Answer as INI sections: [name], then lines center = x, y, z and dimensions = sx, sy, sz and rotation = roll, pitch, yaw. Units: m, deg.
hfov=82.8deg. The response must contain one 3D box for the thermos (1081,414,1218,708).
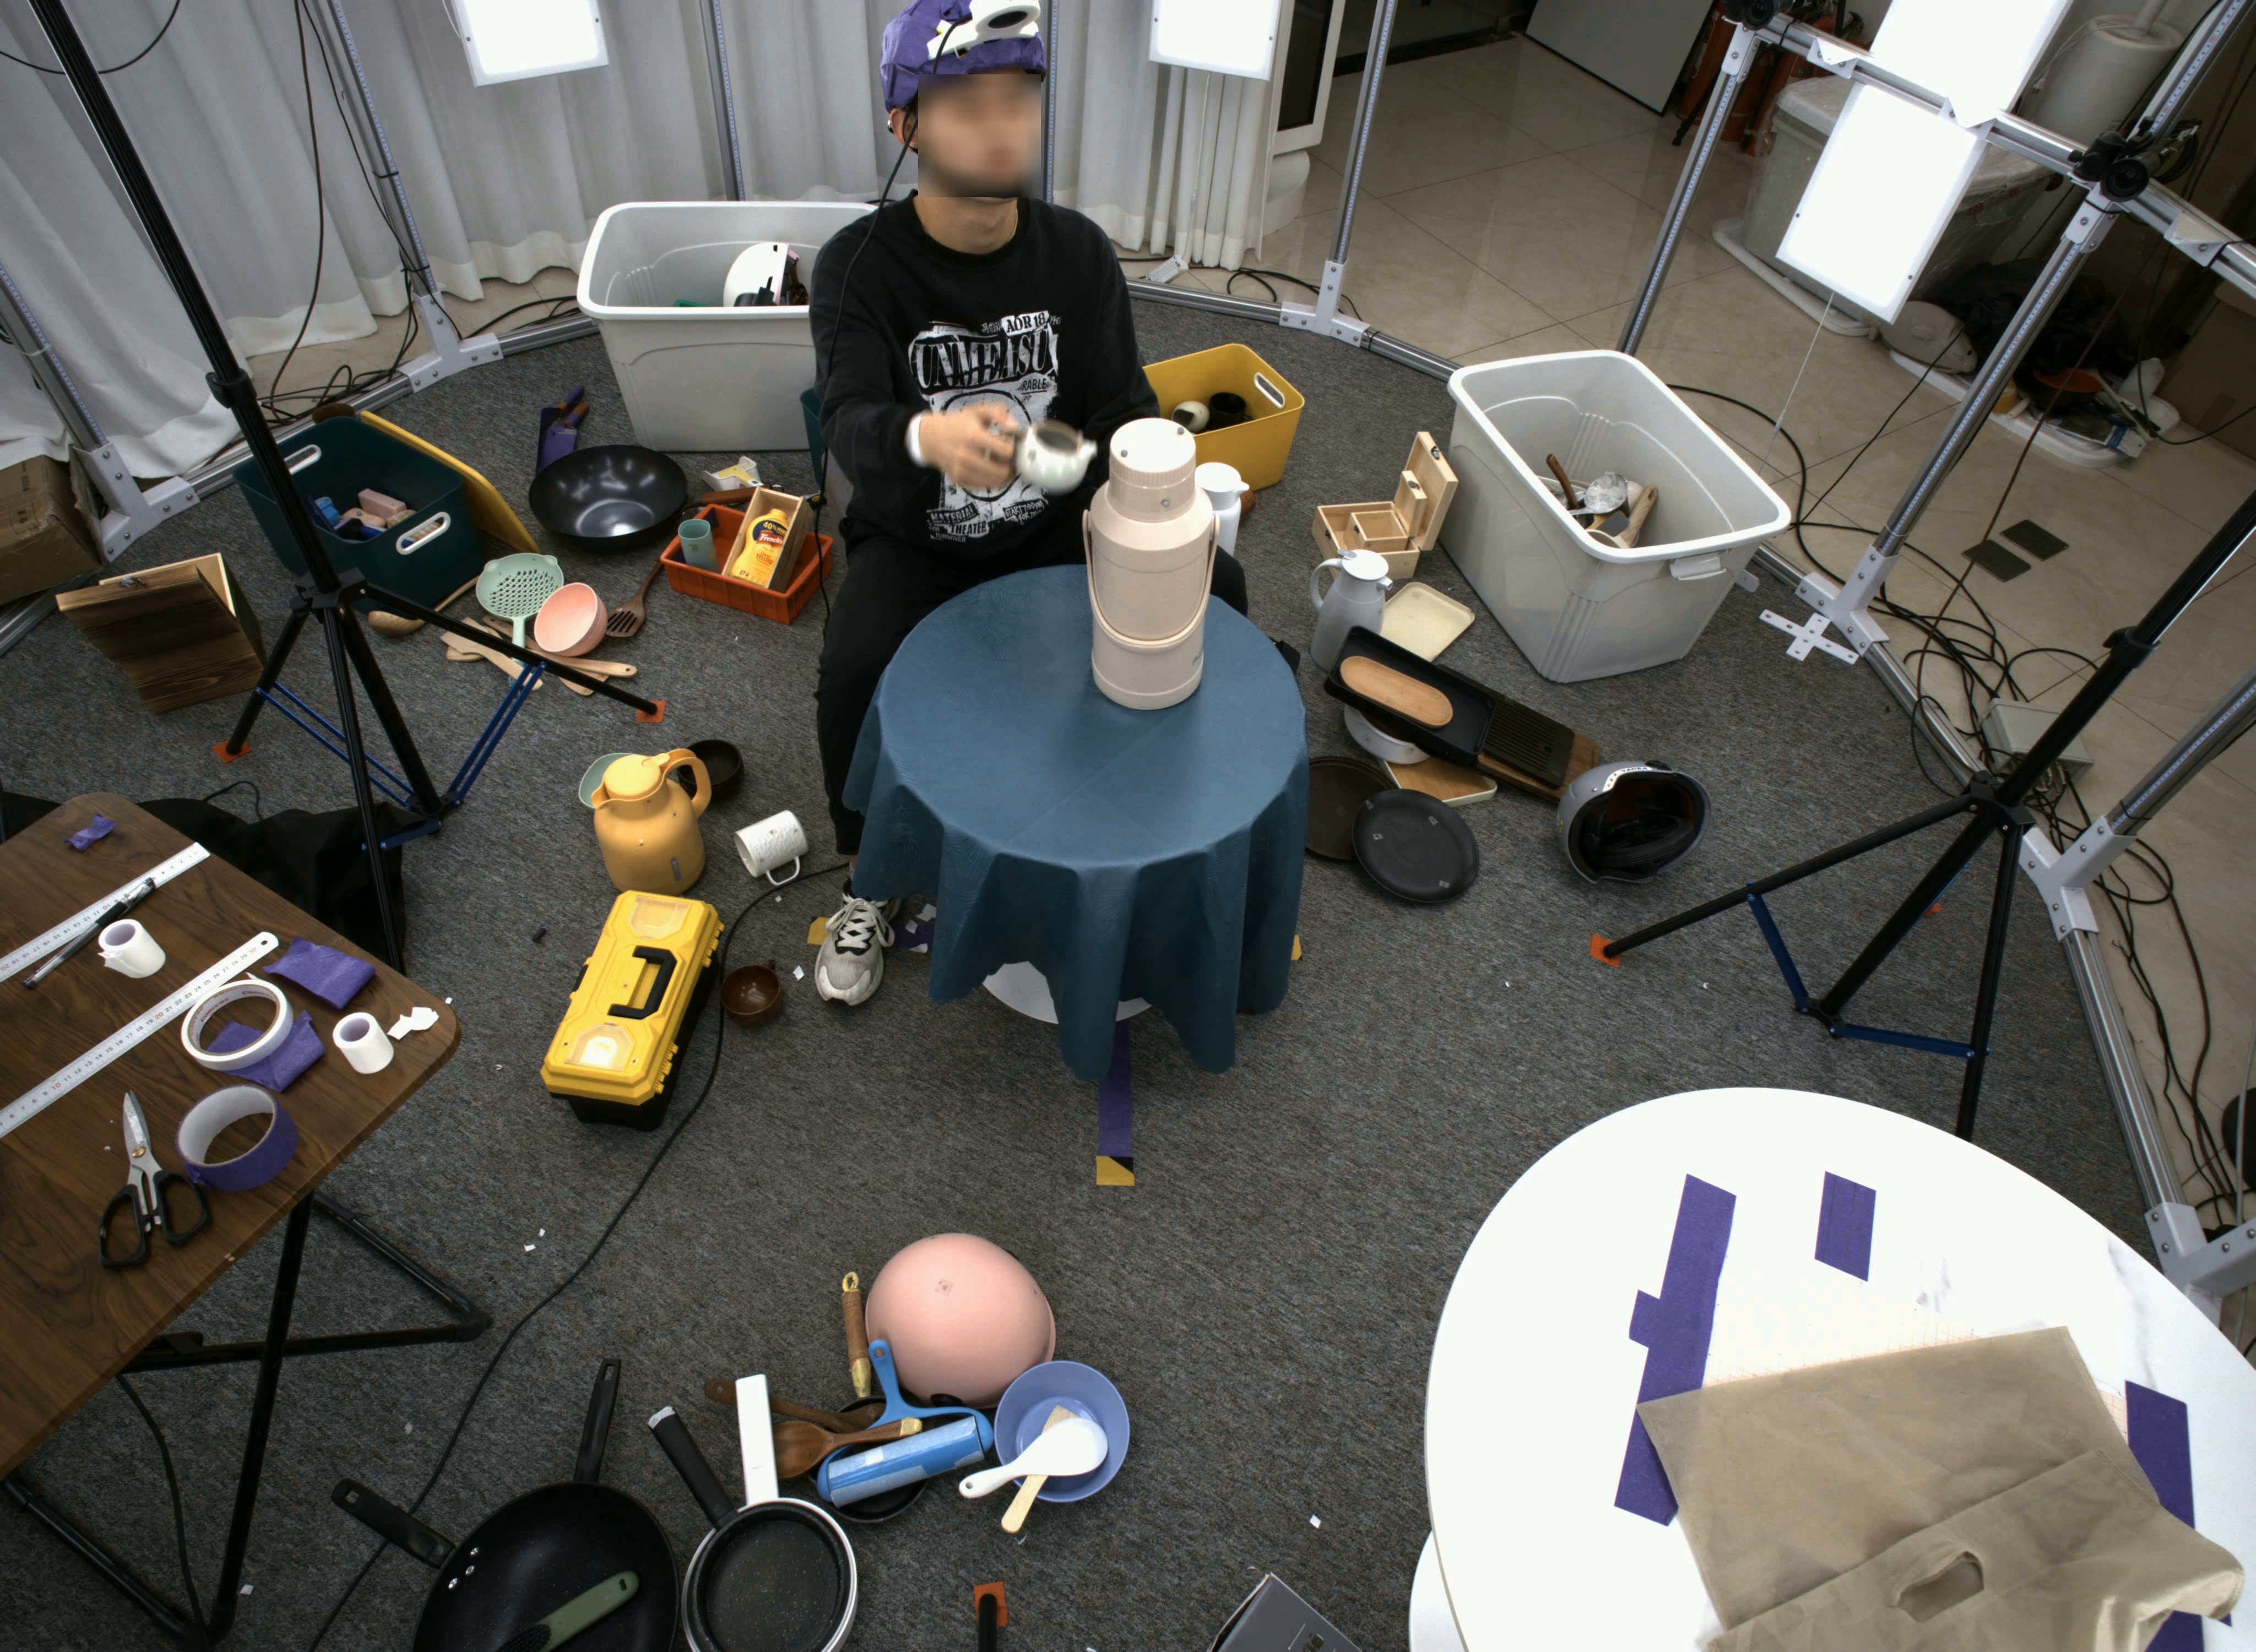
[thermos]
center = 0.030, -0.357, 1.718
dimensions = 0.175, 0.396, 0.212
rotation = 0, 53, 2

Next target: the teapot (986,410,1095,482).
[teapot]
center = -0.104, -0.446, 1.515
dimensions = 0.127, 0.058, 0.094
rotation = 4, 50, -26
